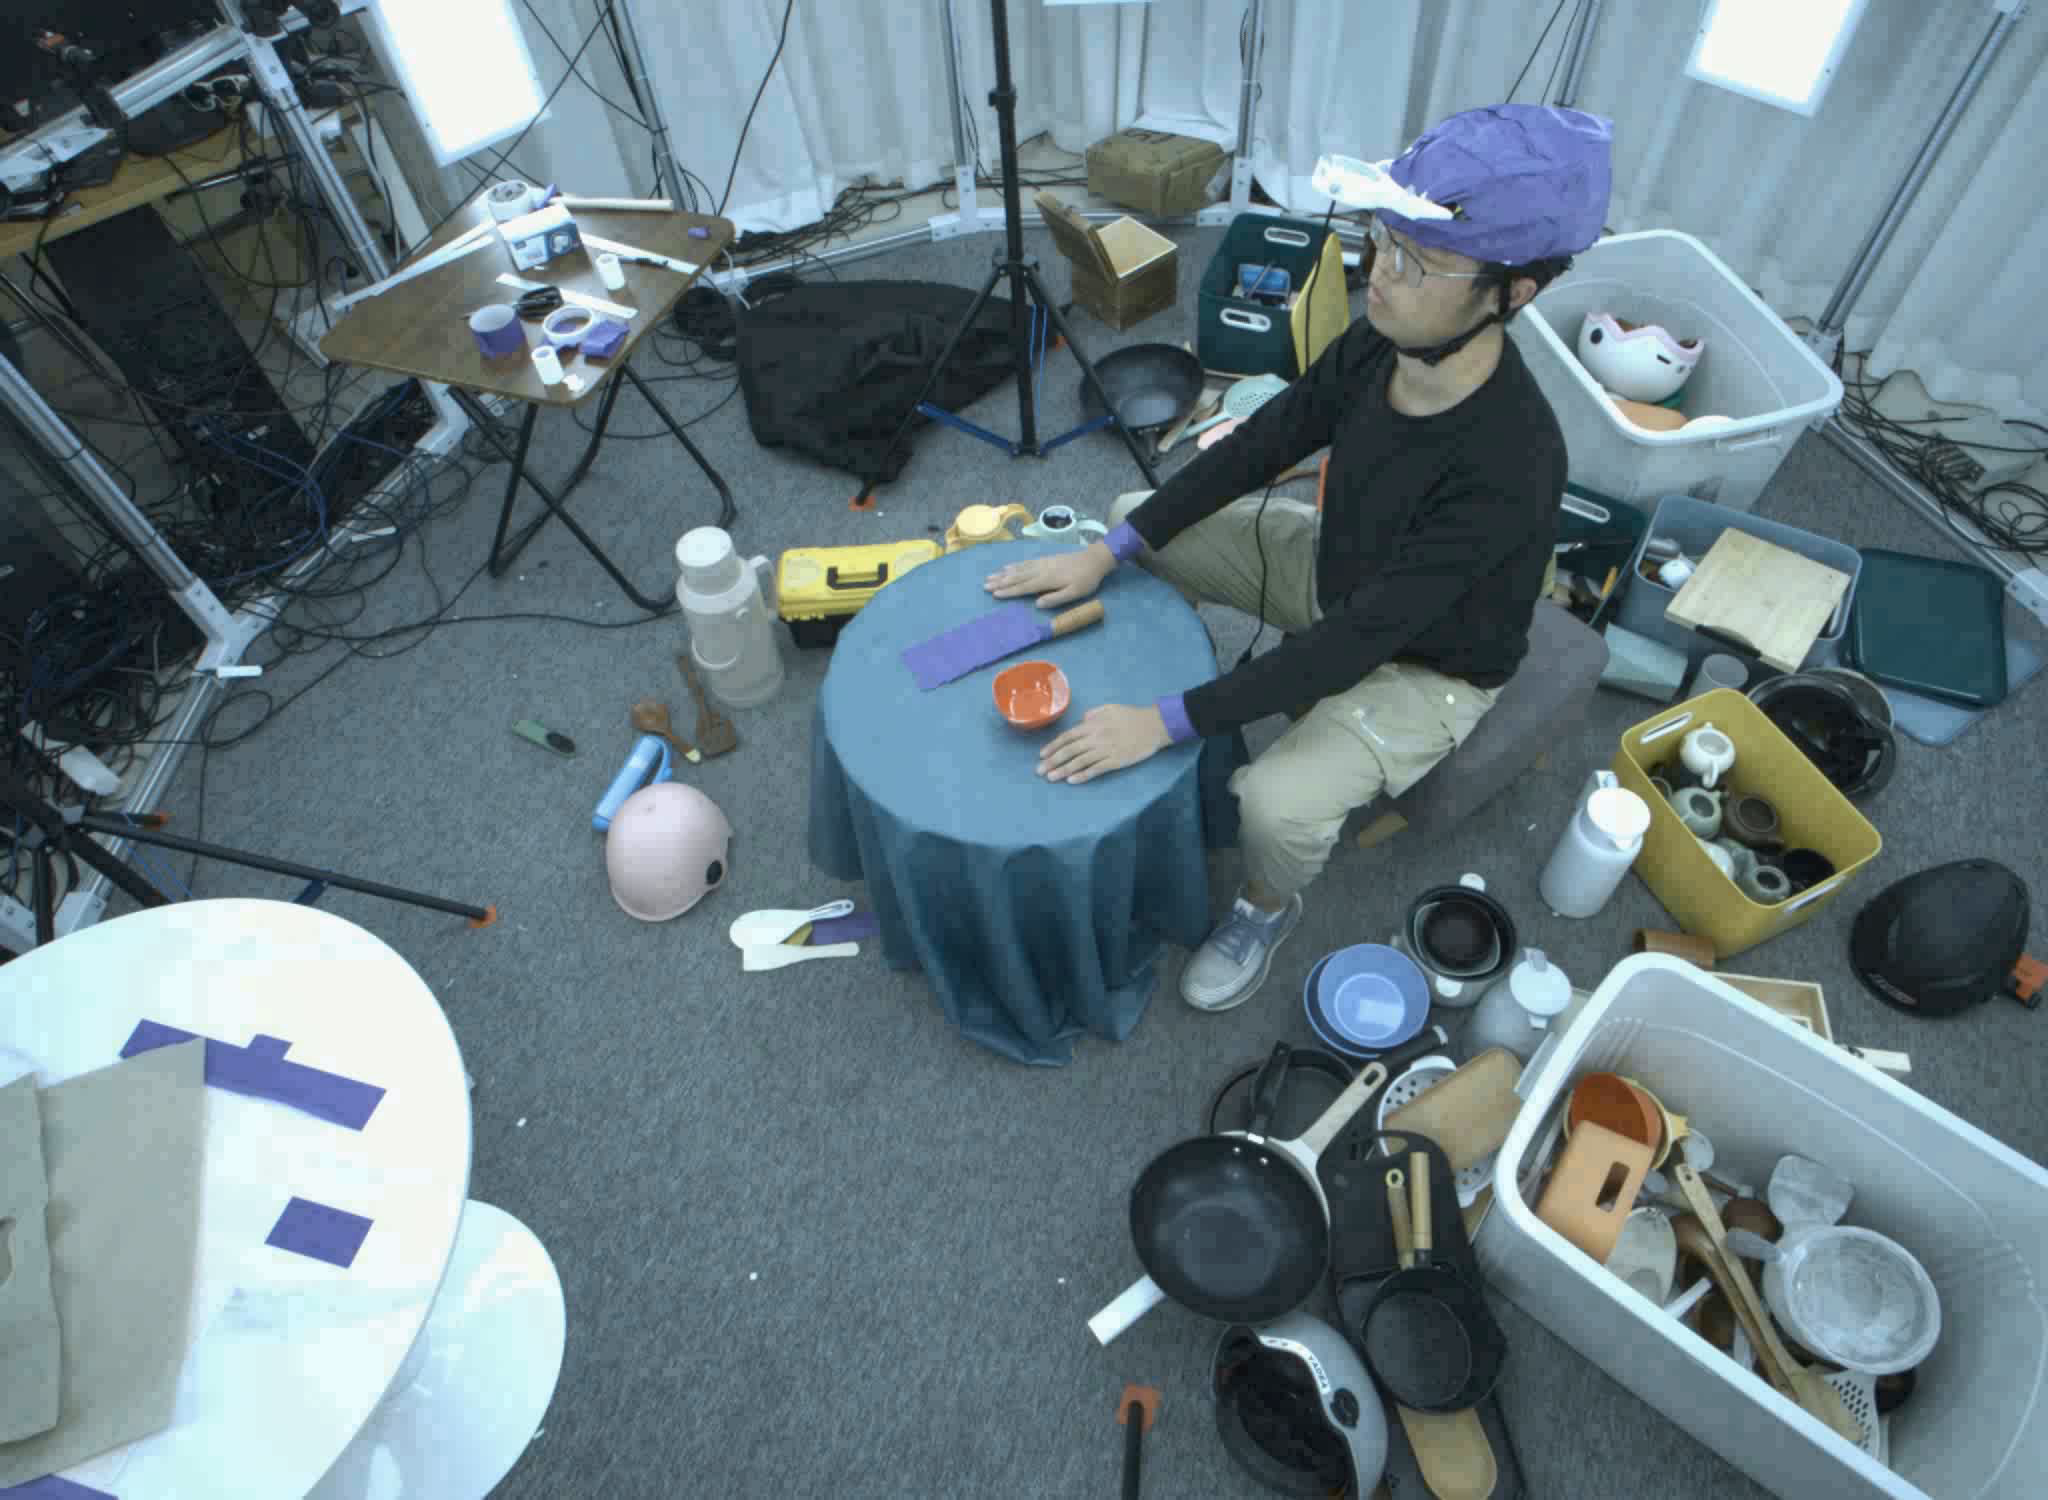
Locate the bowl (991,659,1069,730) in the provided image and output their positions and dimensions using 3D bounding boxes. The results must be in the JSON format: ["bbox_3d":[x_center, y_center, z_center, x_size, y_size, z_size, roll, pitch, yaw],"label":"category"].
[{"bbox_3d":[0.011,-0.074,1.801,0.118,0.052,0.117,-2,54,5],"label":"bowl"}]

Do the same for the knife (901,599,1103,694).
[{"bbox_3d":[-0.037,-0.183,1.899,0.317,0.032,0.102,-24,57,-14],"label":"knife"}]
